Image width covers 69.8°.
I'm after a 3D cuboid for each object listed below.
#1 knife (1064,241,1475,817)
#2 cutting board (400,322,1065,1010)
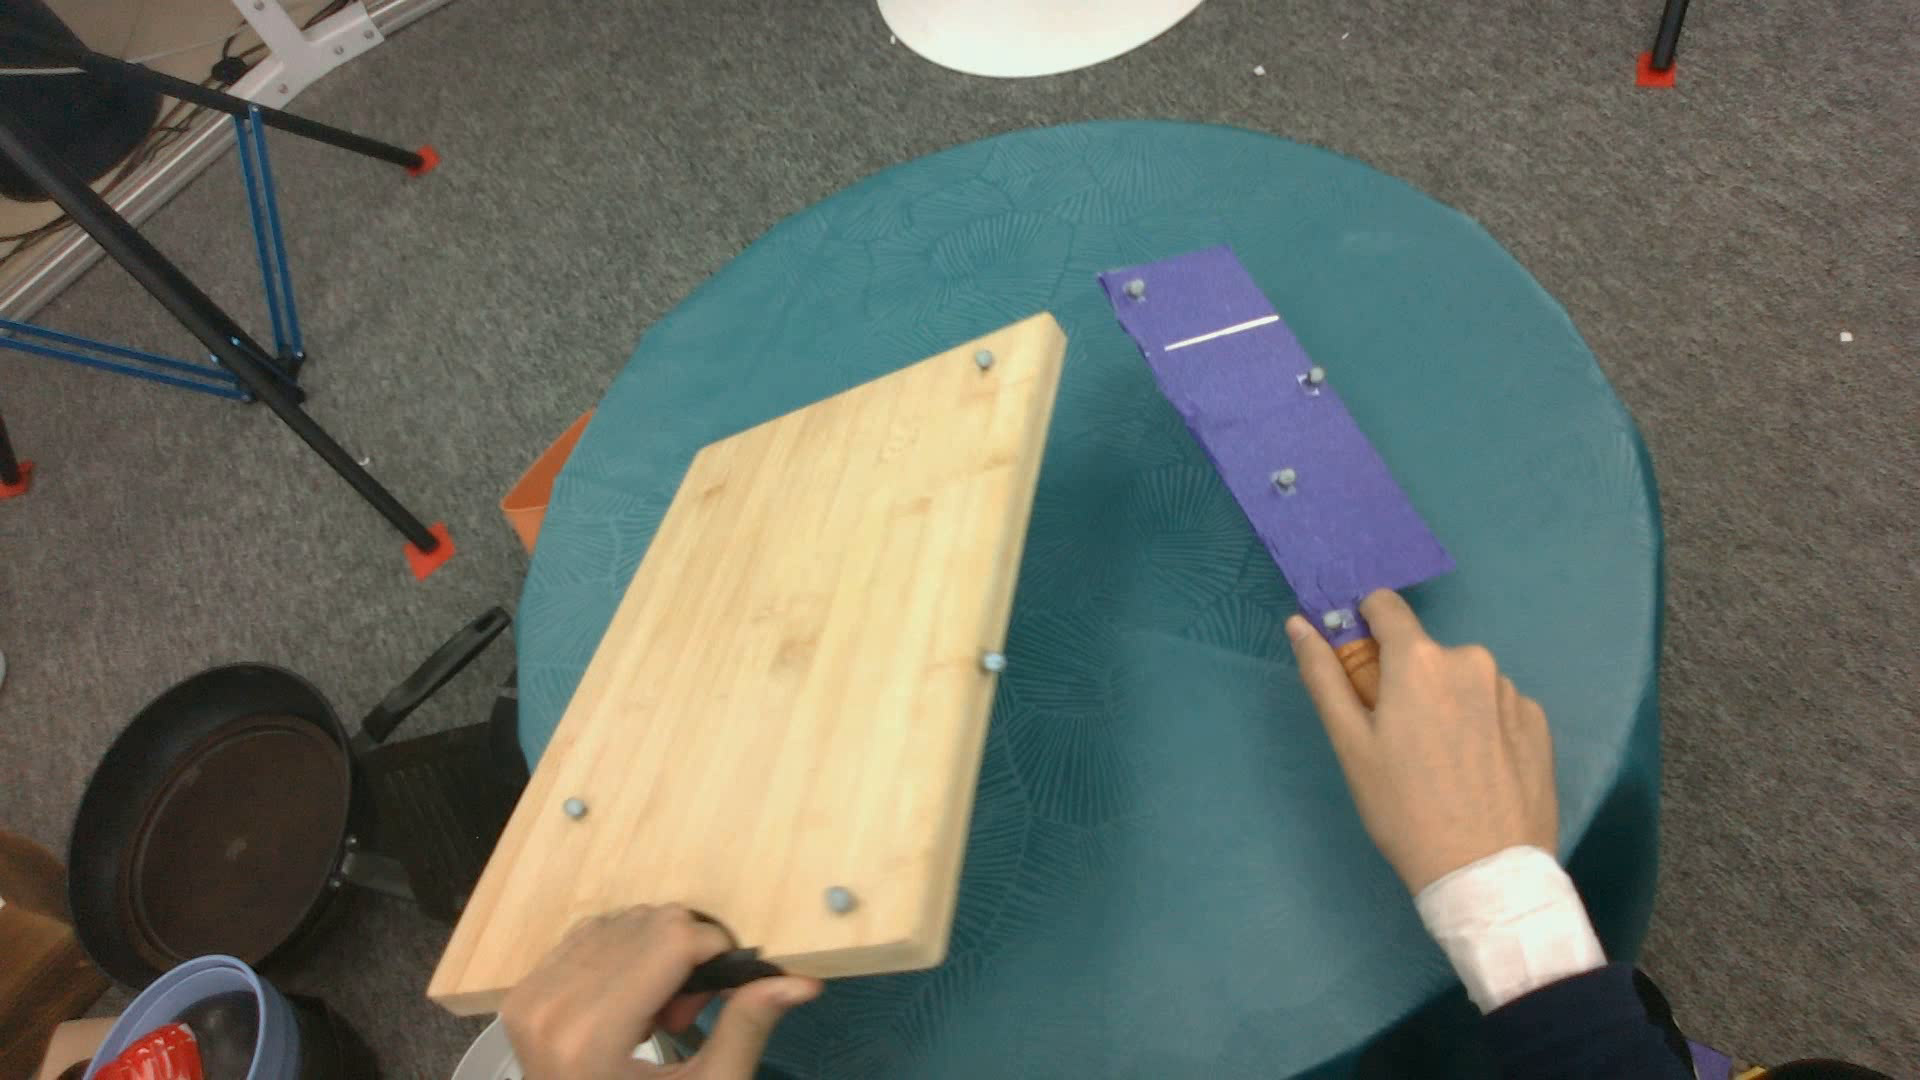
[{"bbox_3d":[0.164,-0.025,0.654,0.104,0.032,0.316,-17,66,-25],"label":"knife"},{"bbox_3d":[-0.086,0.040,0.625,0.250,0.023,0.350,-14,40,25],"label":"cutting board"}]
